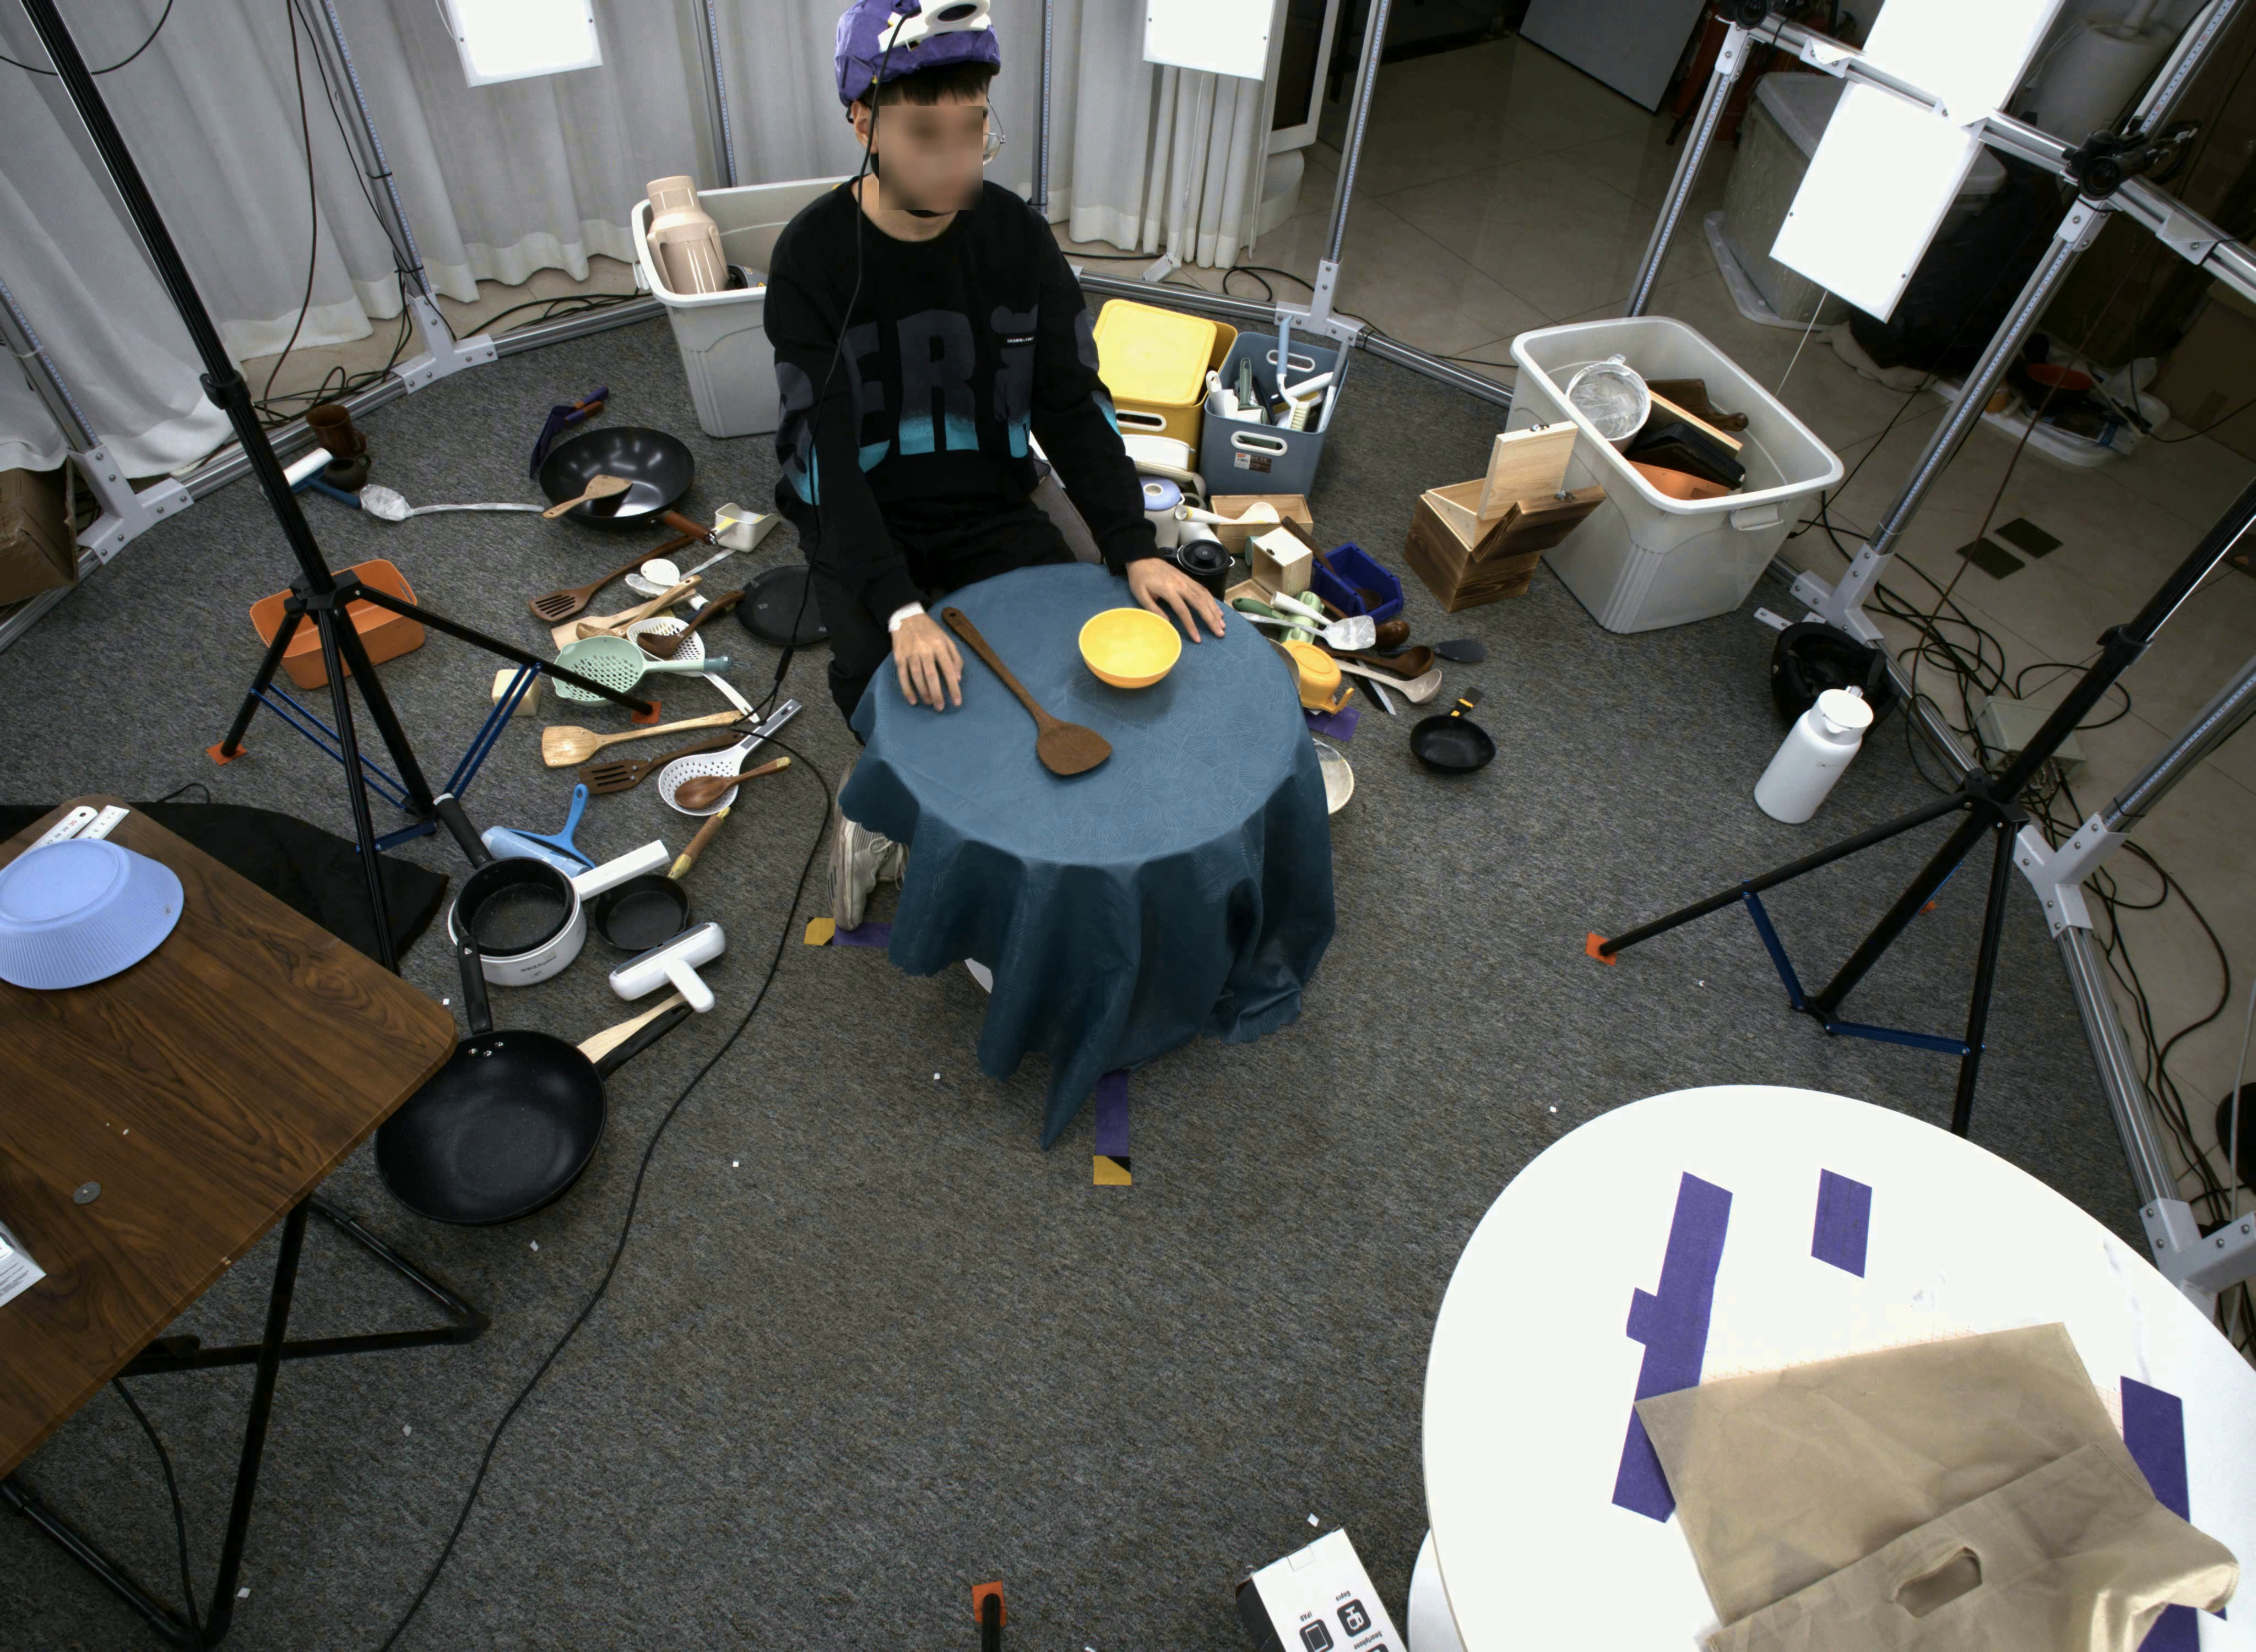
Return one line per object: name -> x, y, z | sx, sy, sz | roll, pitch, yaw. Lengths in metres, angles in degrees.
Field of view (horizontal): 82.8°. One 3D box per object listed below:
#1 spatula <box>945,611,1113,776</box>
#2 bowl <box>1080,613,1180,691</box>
spatula -> -0.160, -0.200, 1.839 | 0.096, 0.015, 0.393 | -25, 55, -24
bowl -> 0.001, -0.240, 1.859 | 0.145, 0.058, 0.149 | 3, 47, -4
